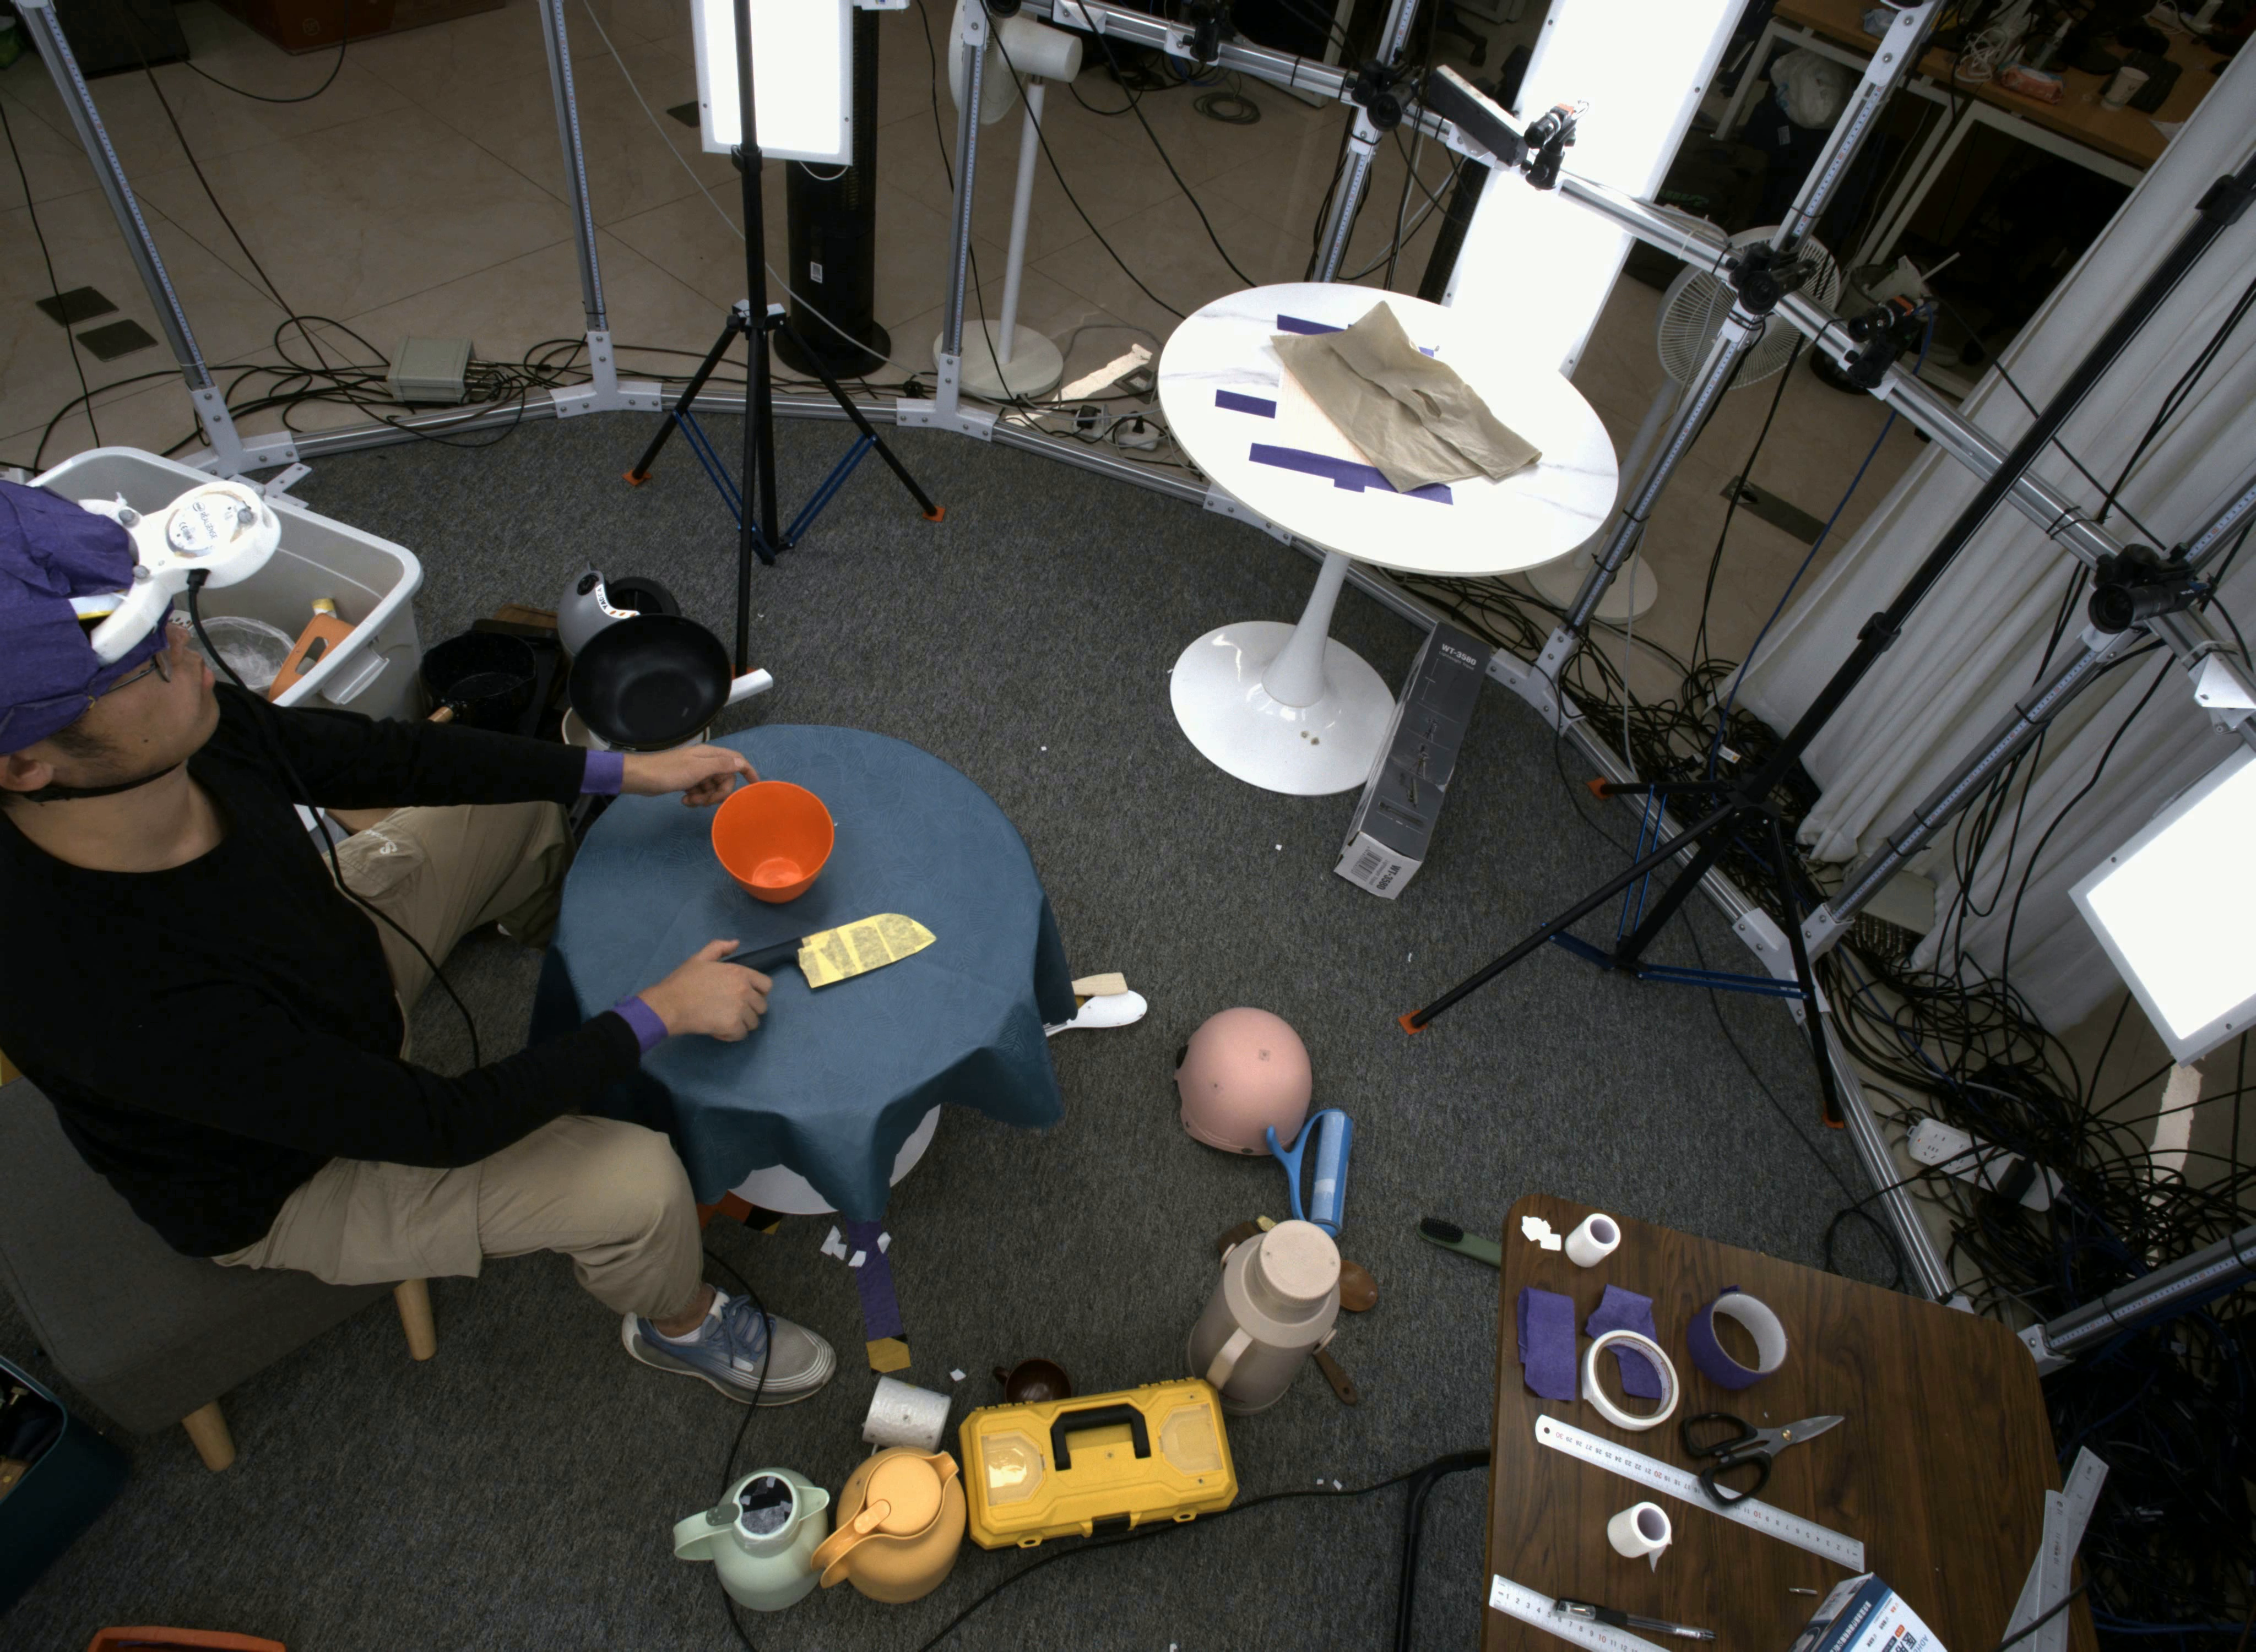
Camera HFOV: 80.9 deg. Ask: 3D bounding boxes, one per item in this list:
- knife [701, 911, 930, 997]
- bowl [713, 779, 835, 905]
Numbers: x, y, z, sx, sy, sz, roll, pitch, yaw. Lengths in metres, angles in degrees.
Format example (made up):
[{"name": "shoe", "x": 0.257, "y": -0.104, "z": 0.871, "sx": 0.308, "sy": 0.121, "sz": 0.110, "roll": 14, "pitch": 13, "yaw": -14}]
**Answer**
[{"name": "knife", "x": -0.380, "y": 0.163, "z": 1.602, "sx": 0.291, "sy": 0.028, "sz": 0.079, "roll": -16, "pitch": 58, "yaw": -26}, {"name": "bowl", "x": -0.443, "y": 0.031, "z": 1.627, "sx": 0.148, "sy": 0.106, "sz": 0.145, "roll": 8, "pitch": 52, "yaw": -9}]
